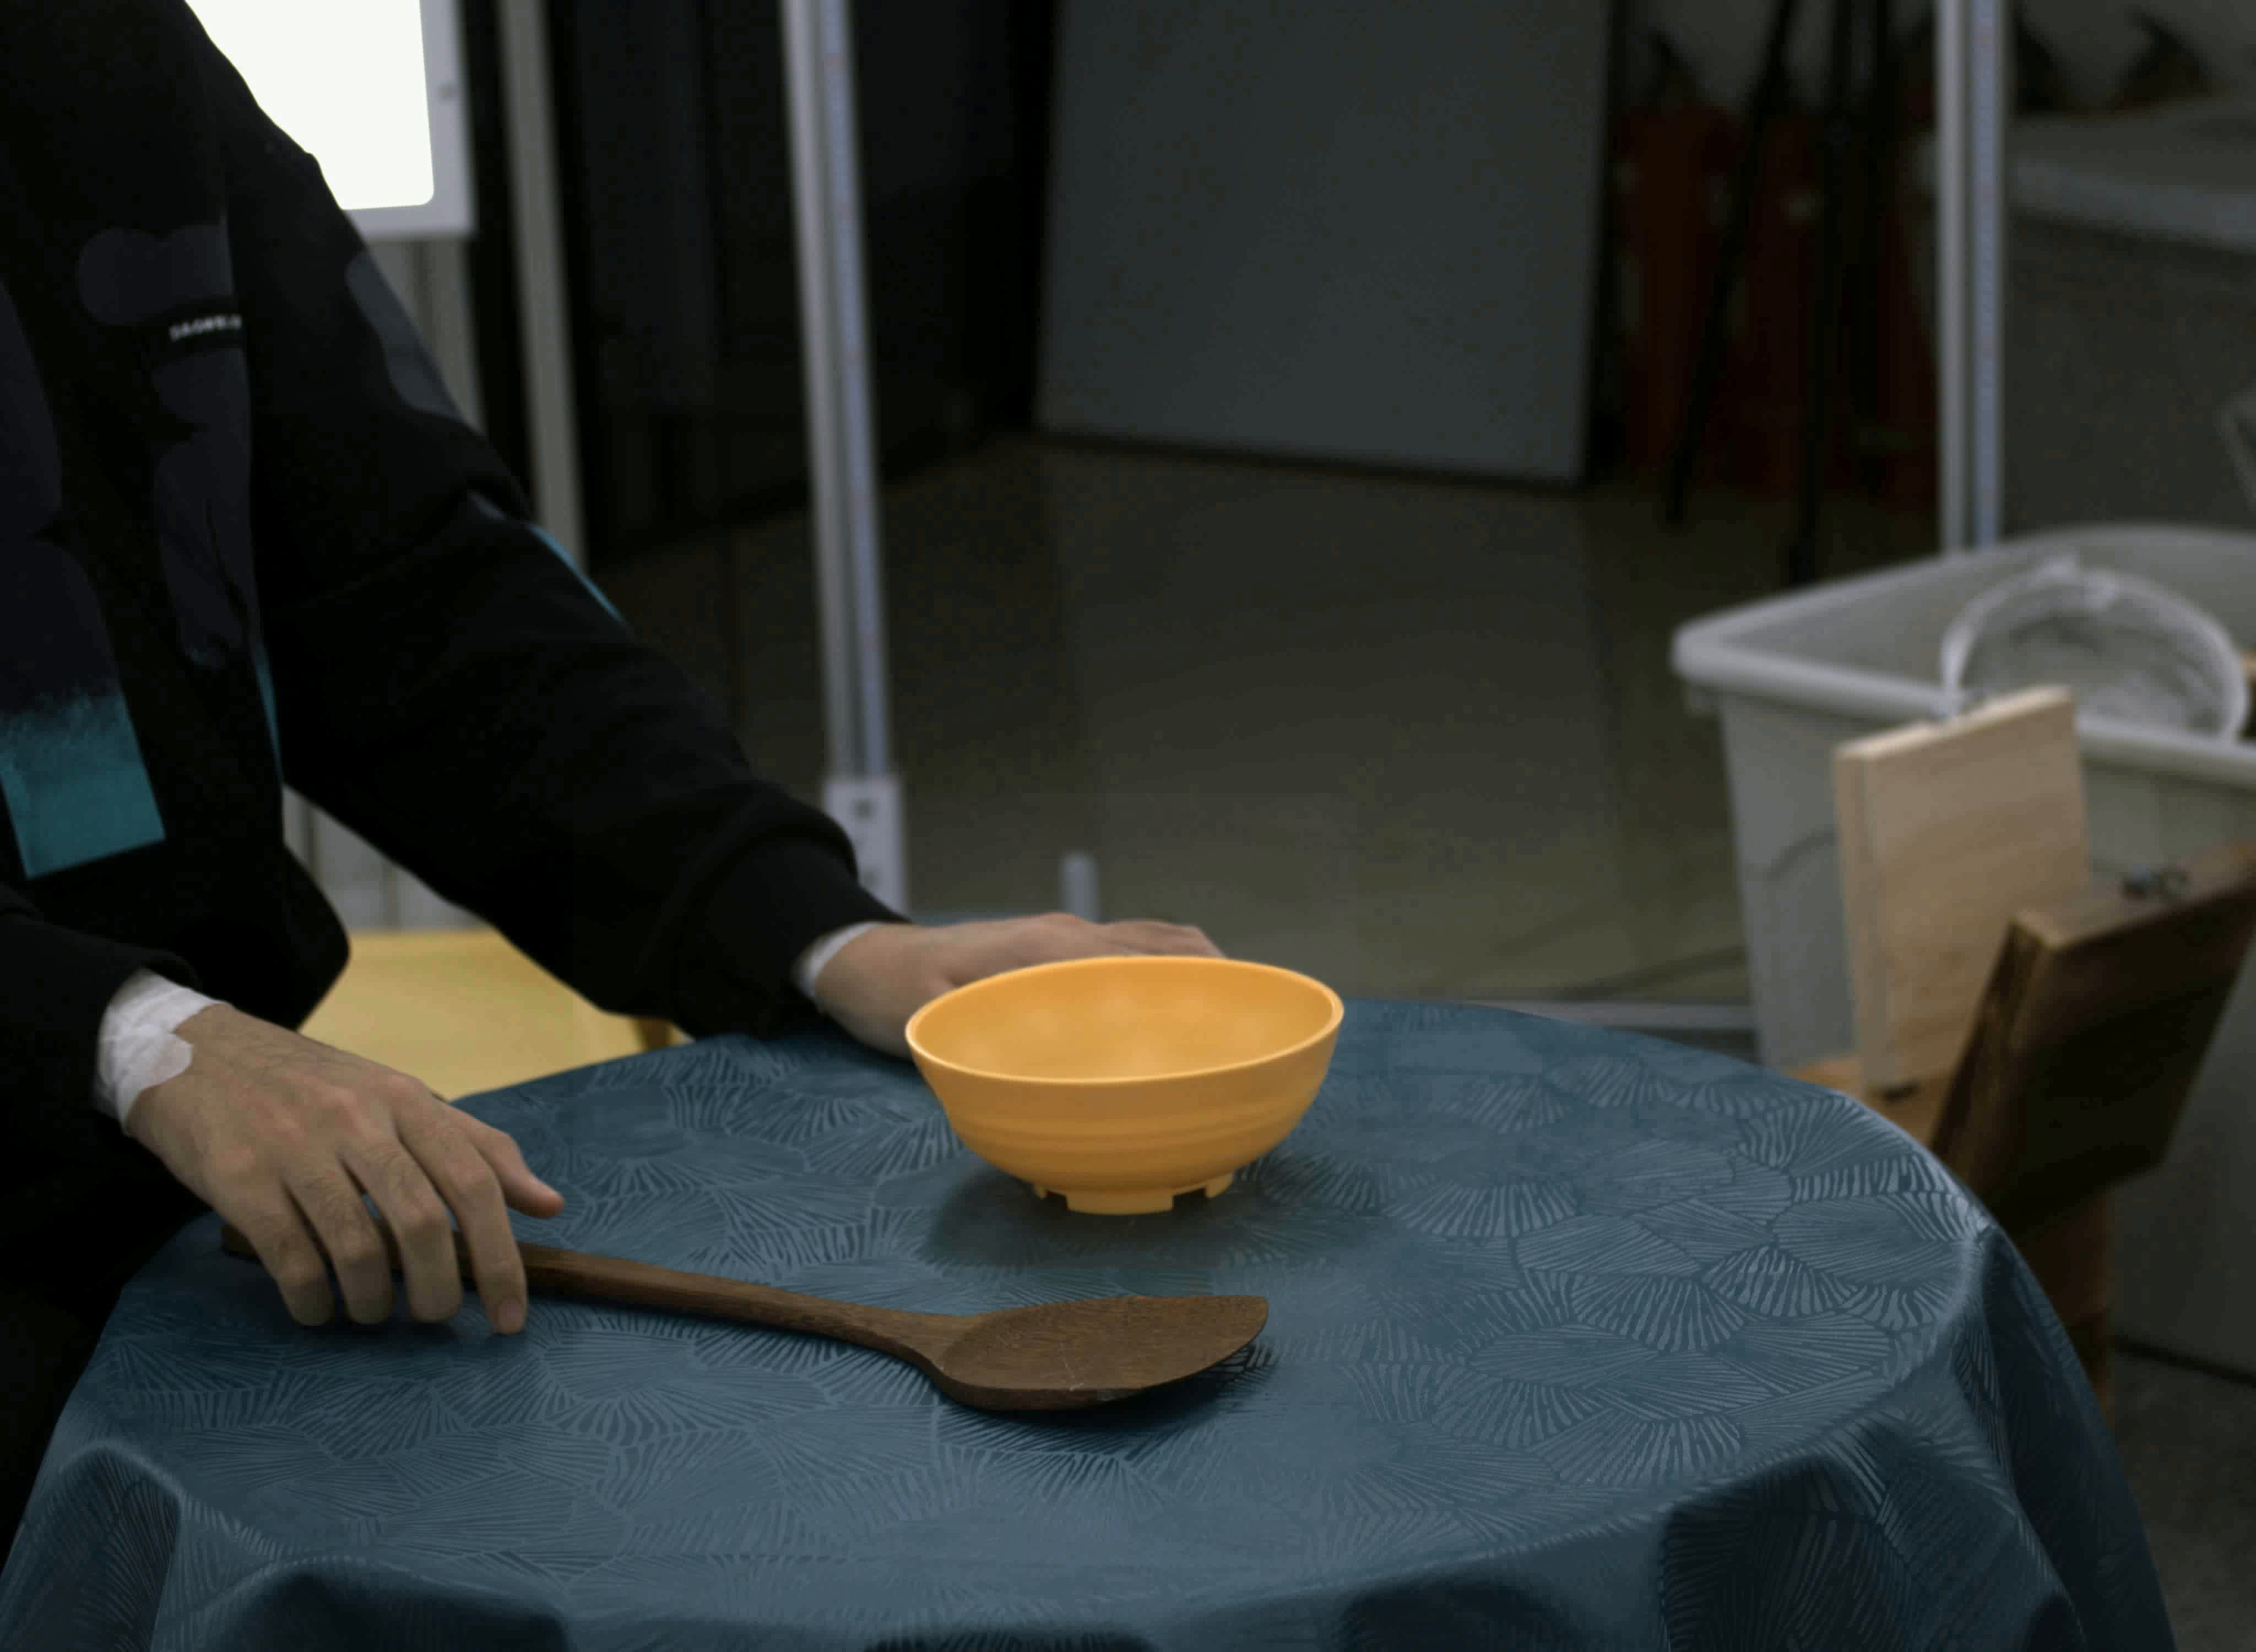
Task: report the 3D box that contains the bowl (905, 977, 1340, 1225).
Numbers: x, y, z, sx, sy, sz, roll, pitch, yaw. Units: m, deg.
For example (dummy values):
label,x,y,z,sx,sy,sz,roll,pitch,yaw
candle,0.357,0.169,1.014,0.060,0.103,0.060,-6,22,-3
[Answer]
label,x,y,z,sx,sy,sz,roll,pitch,yaw
bowl,-0.001,0.094,1.770,0.143,0.061,0.145,-3,11,0

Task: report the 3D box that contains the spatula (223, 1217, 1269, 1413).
label,x,y,z,sx,sy,sz,roll,pitch,yaw
spatula,-0.132,0.147,1.678,0.388,0.016,0.094,5,16,33
